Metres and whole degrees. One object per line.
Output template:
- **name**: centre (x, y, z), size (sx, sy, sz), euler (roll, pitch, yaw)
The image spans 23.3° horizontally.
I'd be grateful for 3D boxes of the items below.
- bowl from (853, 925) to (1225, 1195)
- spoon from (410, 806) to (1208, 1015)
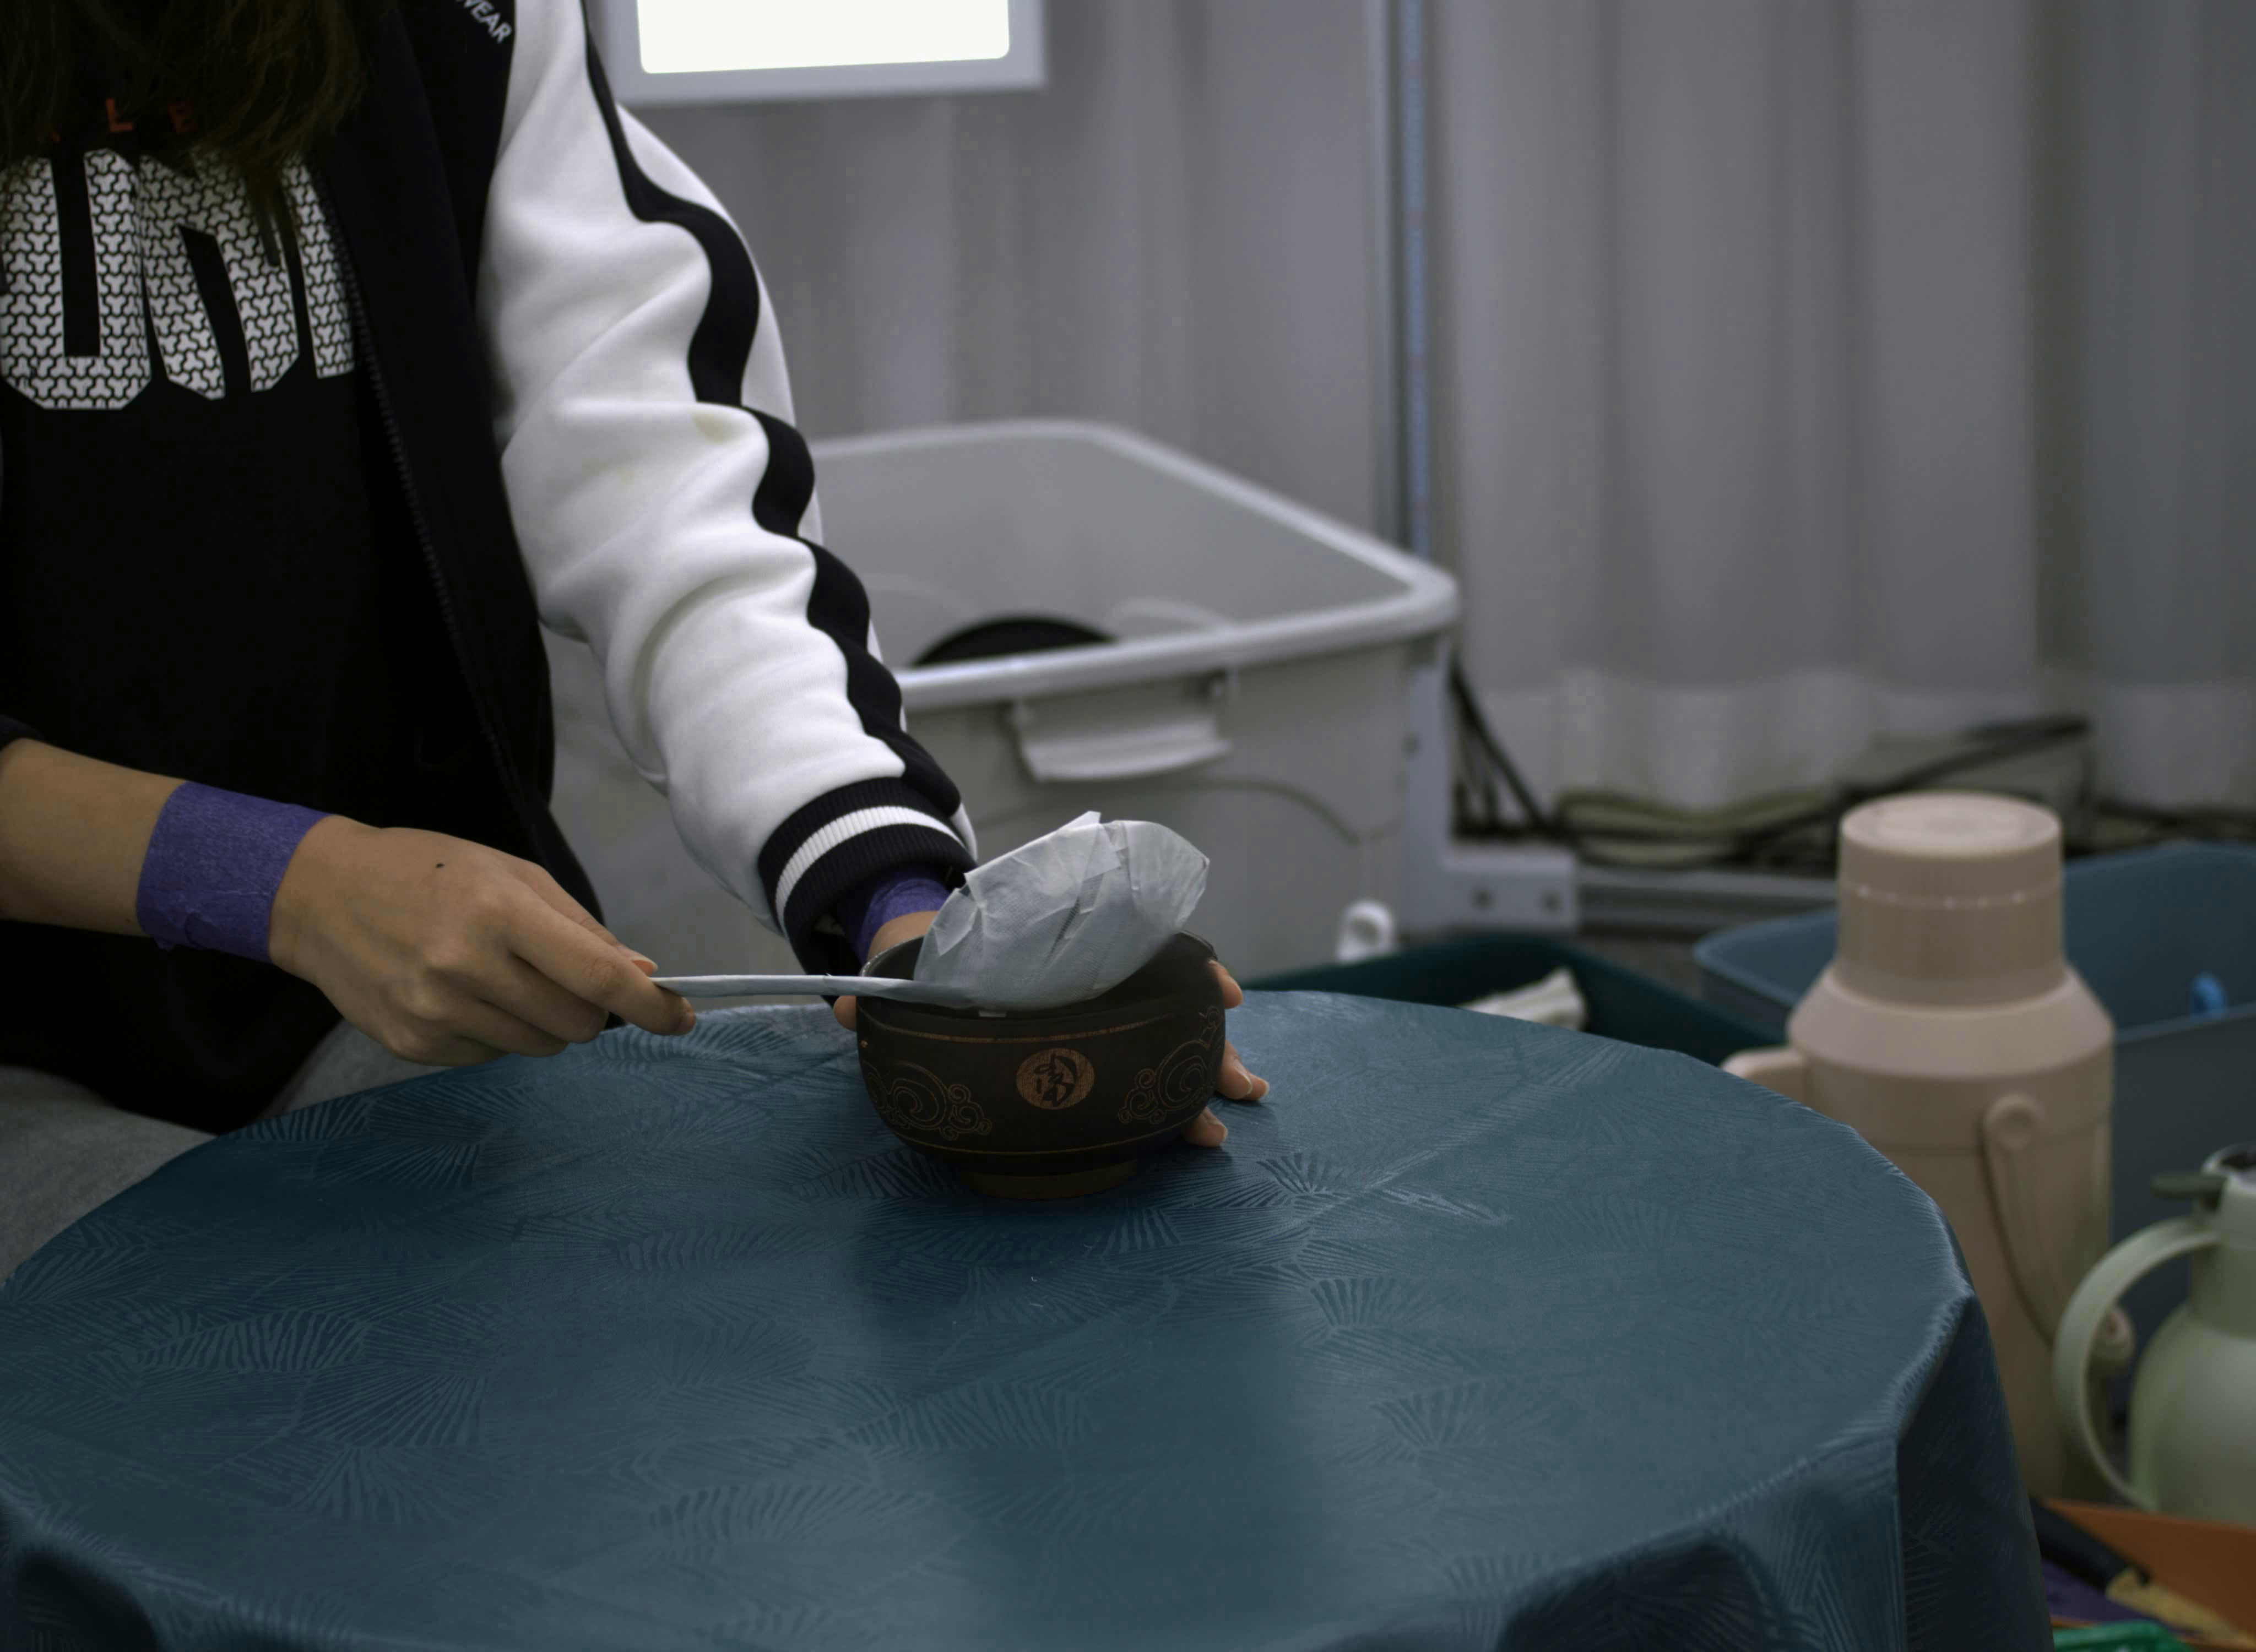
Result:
- **bowl**: centre (-0.027, 0.075, 1.728), size (0.117, 0.069, 0.119), euler (-3, 15, 0)
- **spoon**: centre (-0.104, 0.031, 1.723), size (0.278, 0.060, 0.099), euler (-1, -29, 30)
